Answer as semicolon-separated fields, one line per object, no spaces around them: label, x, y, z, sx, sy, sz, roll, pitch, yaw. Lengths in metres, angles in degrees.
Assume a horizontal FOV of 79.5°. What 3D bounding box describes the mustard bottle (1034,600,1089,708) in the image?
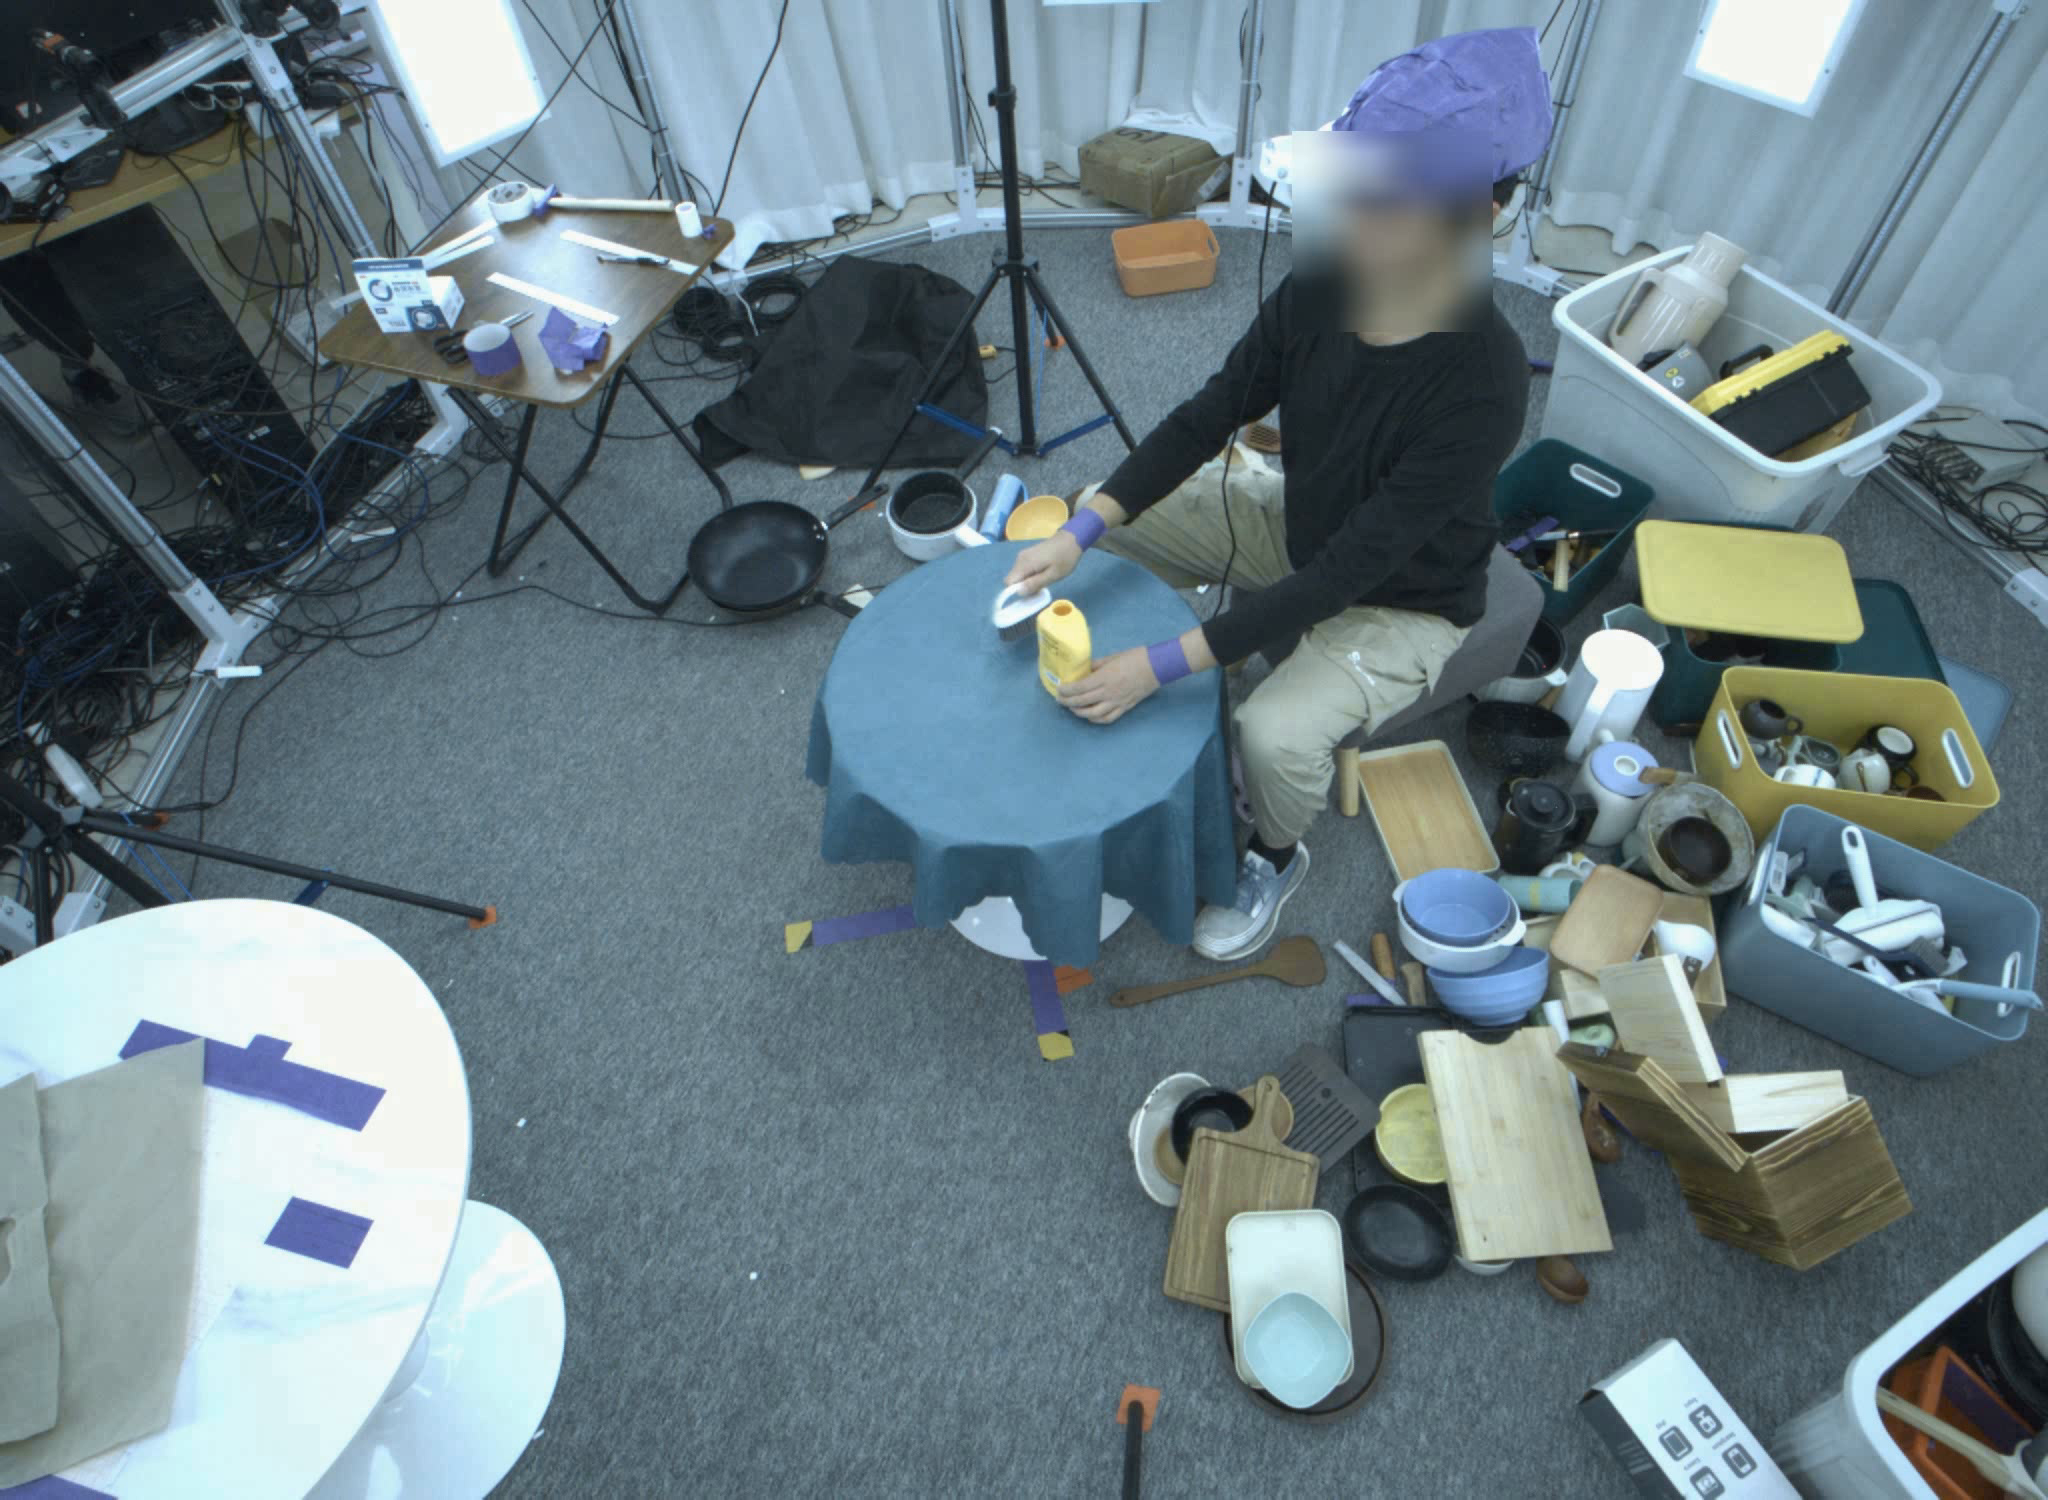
mustard bottle;0.054;-0.147;1.789;0.060;0.174;0.096;-37;59;-25

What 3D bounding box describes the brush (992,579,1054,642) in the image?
brush;-0.004;-0.219;1.861;0.100;0.073;0.049;-30;29;-13
